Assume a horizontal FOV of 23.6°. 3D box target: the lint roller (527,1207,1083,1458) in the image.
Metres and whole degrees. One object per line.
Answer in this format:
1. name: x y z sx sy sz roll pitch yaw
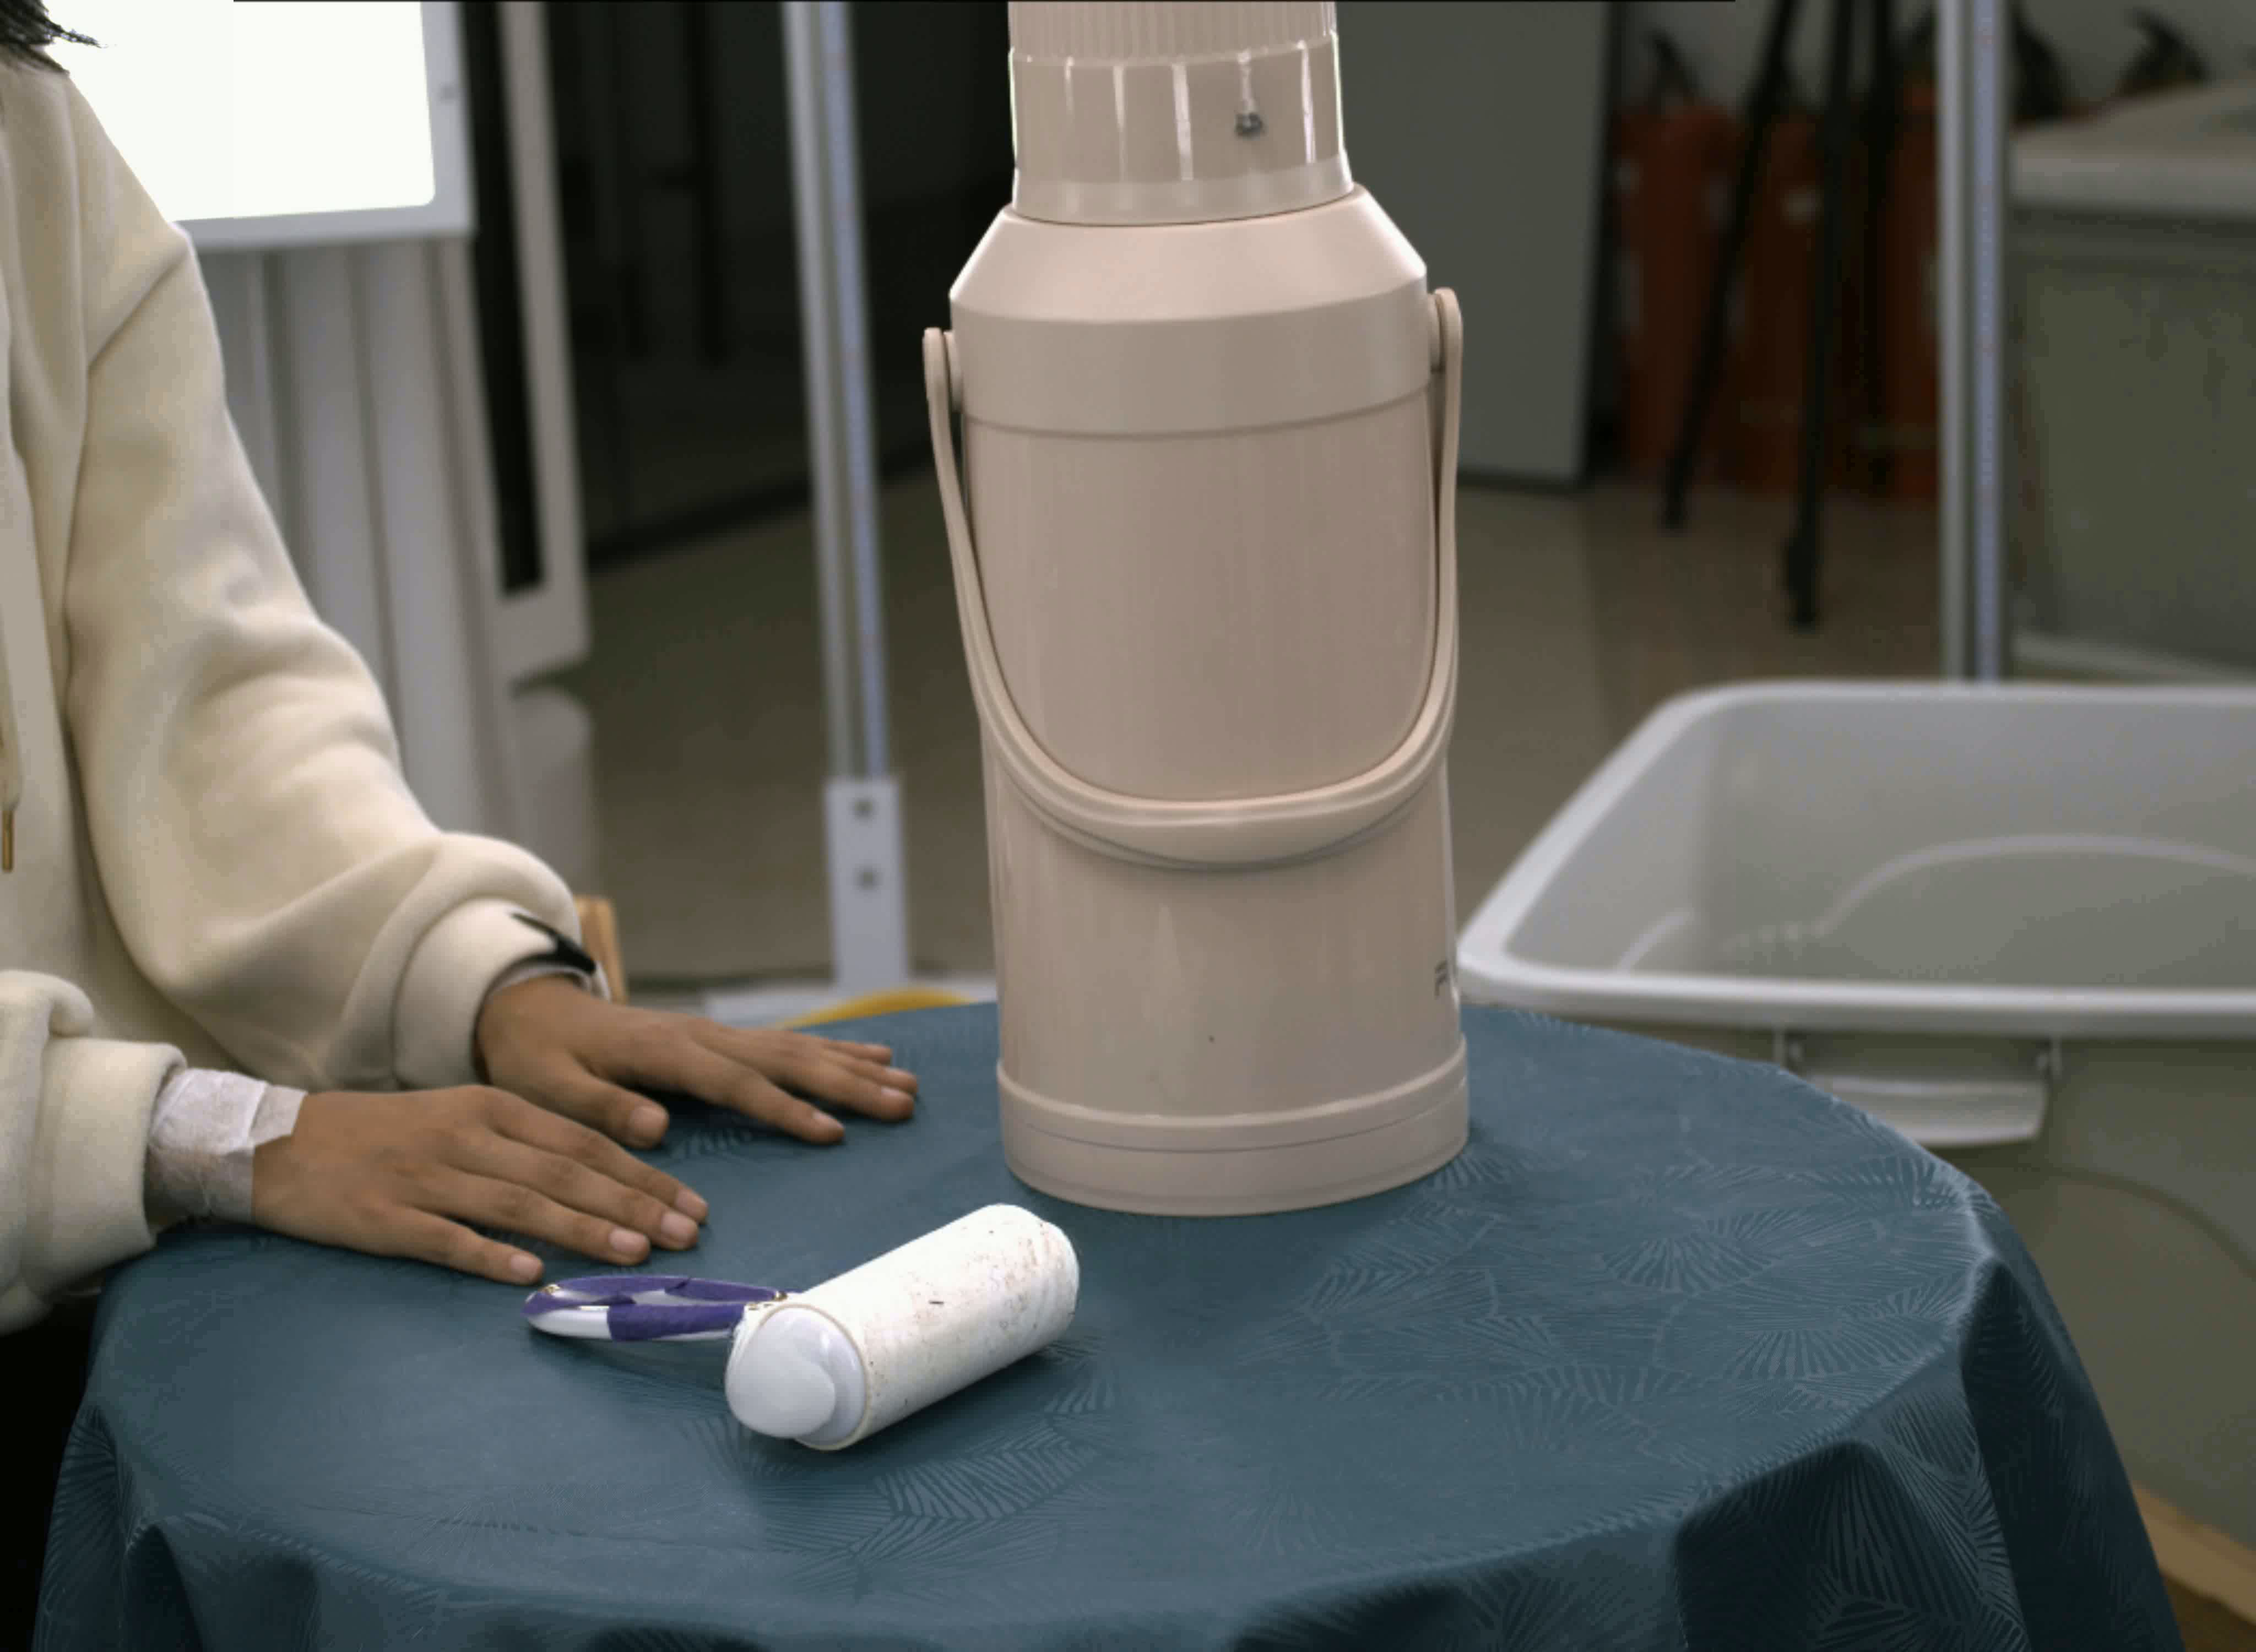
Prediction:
1. lint roller: -0.112 0.140 1.627 0.182 0.051 0.130 10 21 39

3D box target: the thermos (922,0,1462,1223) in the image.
1. thermos: 0.024 -0.089 1.780 0.172 0.411 0.208 -5 13 -5
